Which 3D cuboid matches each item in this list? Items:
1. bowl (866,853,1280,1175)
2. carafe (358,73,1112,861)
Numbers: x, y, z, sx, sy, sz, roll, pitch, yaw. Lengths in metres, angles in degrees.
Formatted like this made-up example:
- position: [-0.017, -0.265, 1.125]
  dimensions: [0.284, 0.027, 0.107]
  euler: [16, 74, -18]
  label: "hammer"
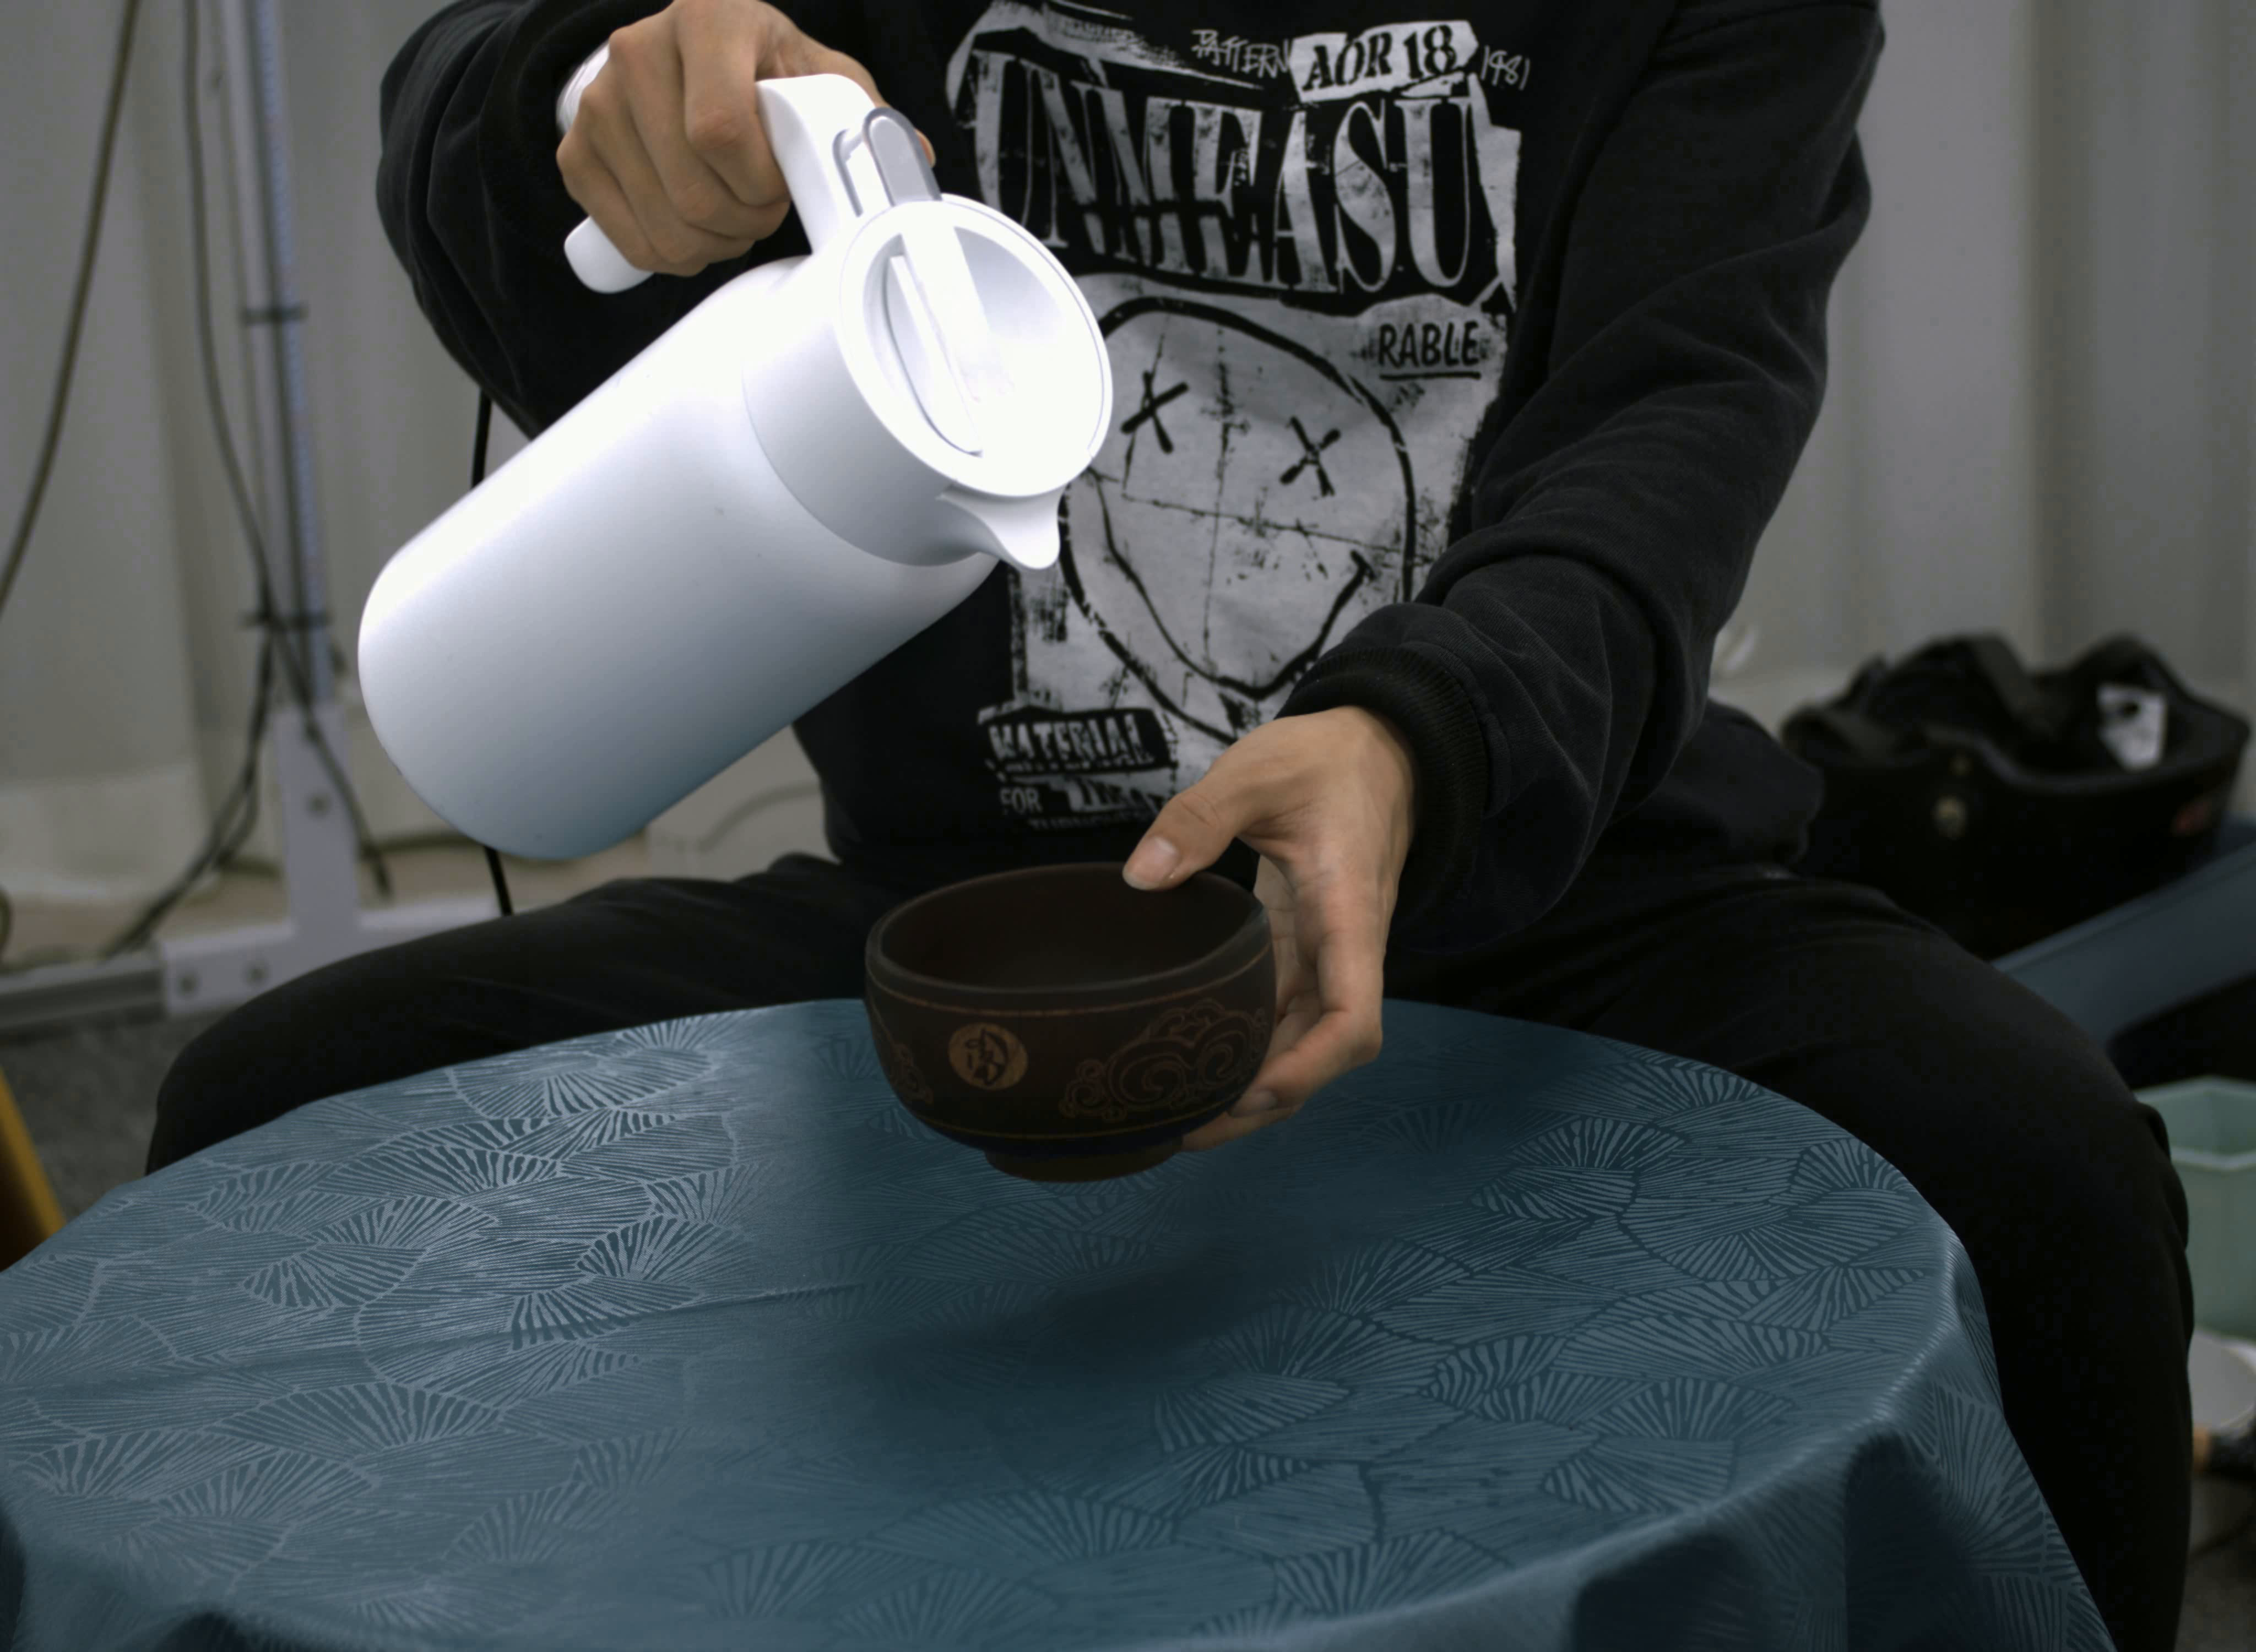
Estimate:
- position: [-0.014, 0.058, 1.564]
  dimensions: [0.117, 0.069, 0.119]
  euler: [-4, 16, 1]
  label: "bowl"
- position: [-0.128, -0.105, 1.662]
  dimensions: [0.123, 0.174, 0.267]
  euler: [-13, -14, -41]
  label: "carafe"
